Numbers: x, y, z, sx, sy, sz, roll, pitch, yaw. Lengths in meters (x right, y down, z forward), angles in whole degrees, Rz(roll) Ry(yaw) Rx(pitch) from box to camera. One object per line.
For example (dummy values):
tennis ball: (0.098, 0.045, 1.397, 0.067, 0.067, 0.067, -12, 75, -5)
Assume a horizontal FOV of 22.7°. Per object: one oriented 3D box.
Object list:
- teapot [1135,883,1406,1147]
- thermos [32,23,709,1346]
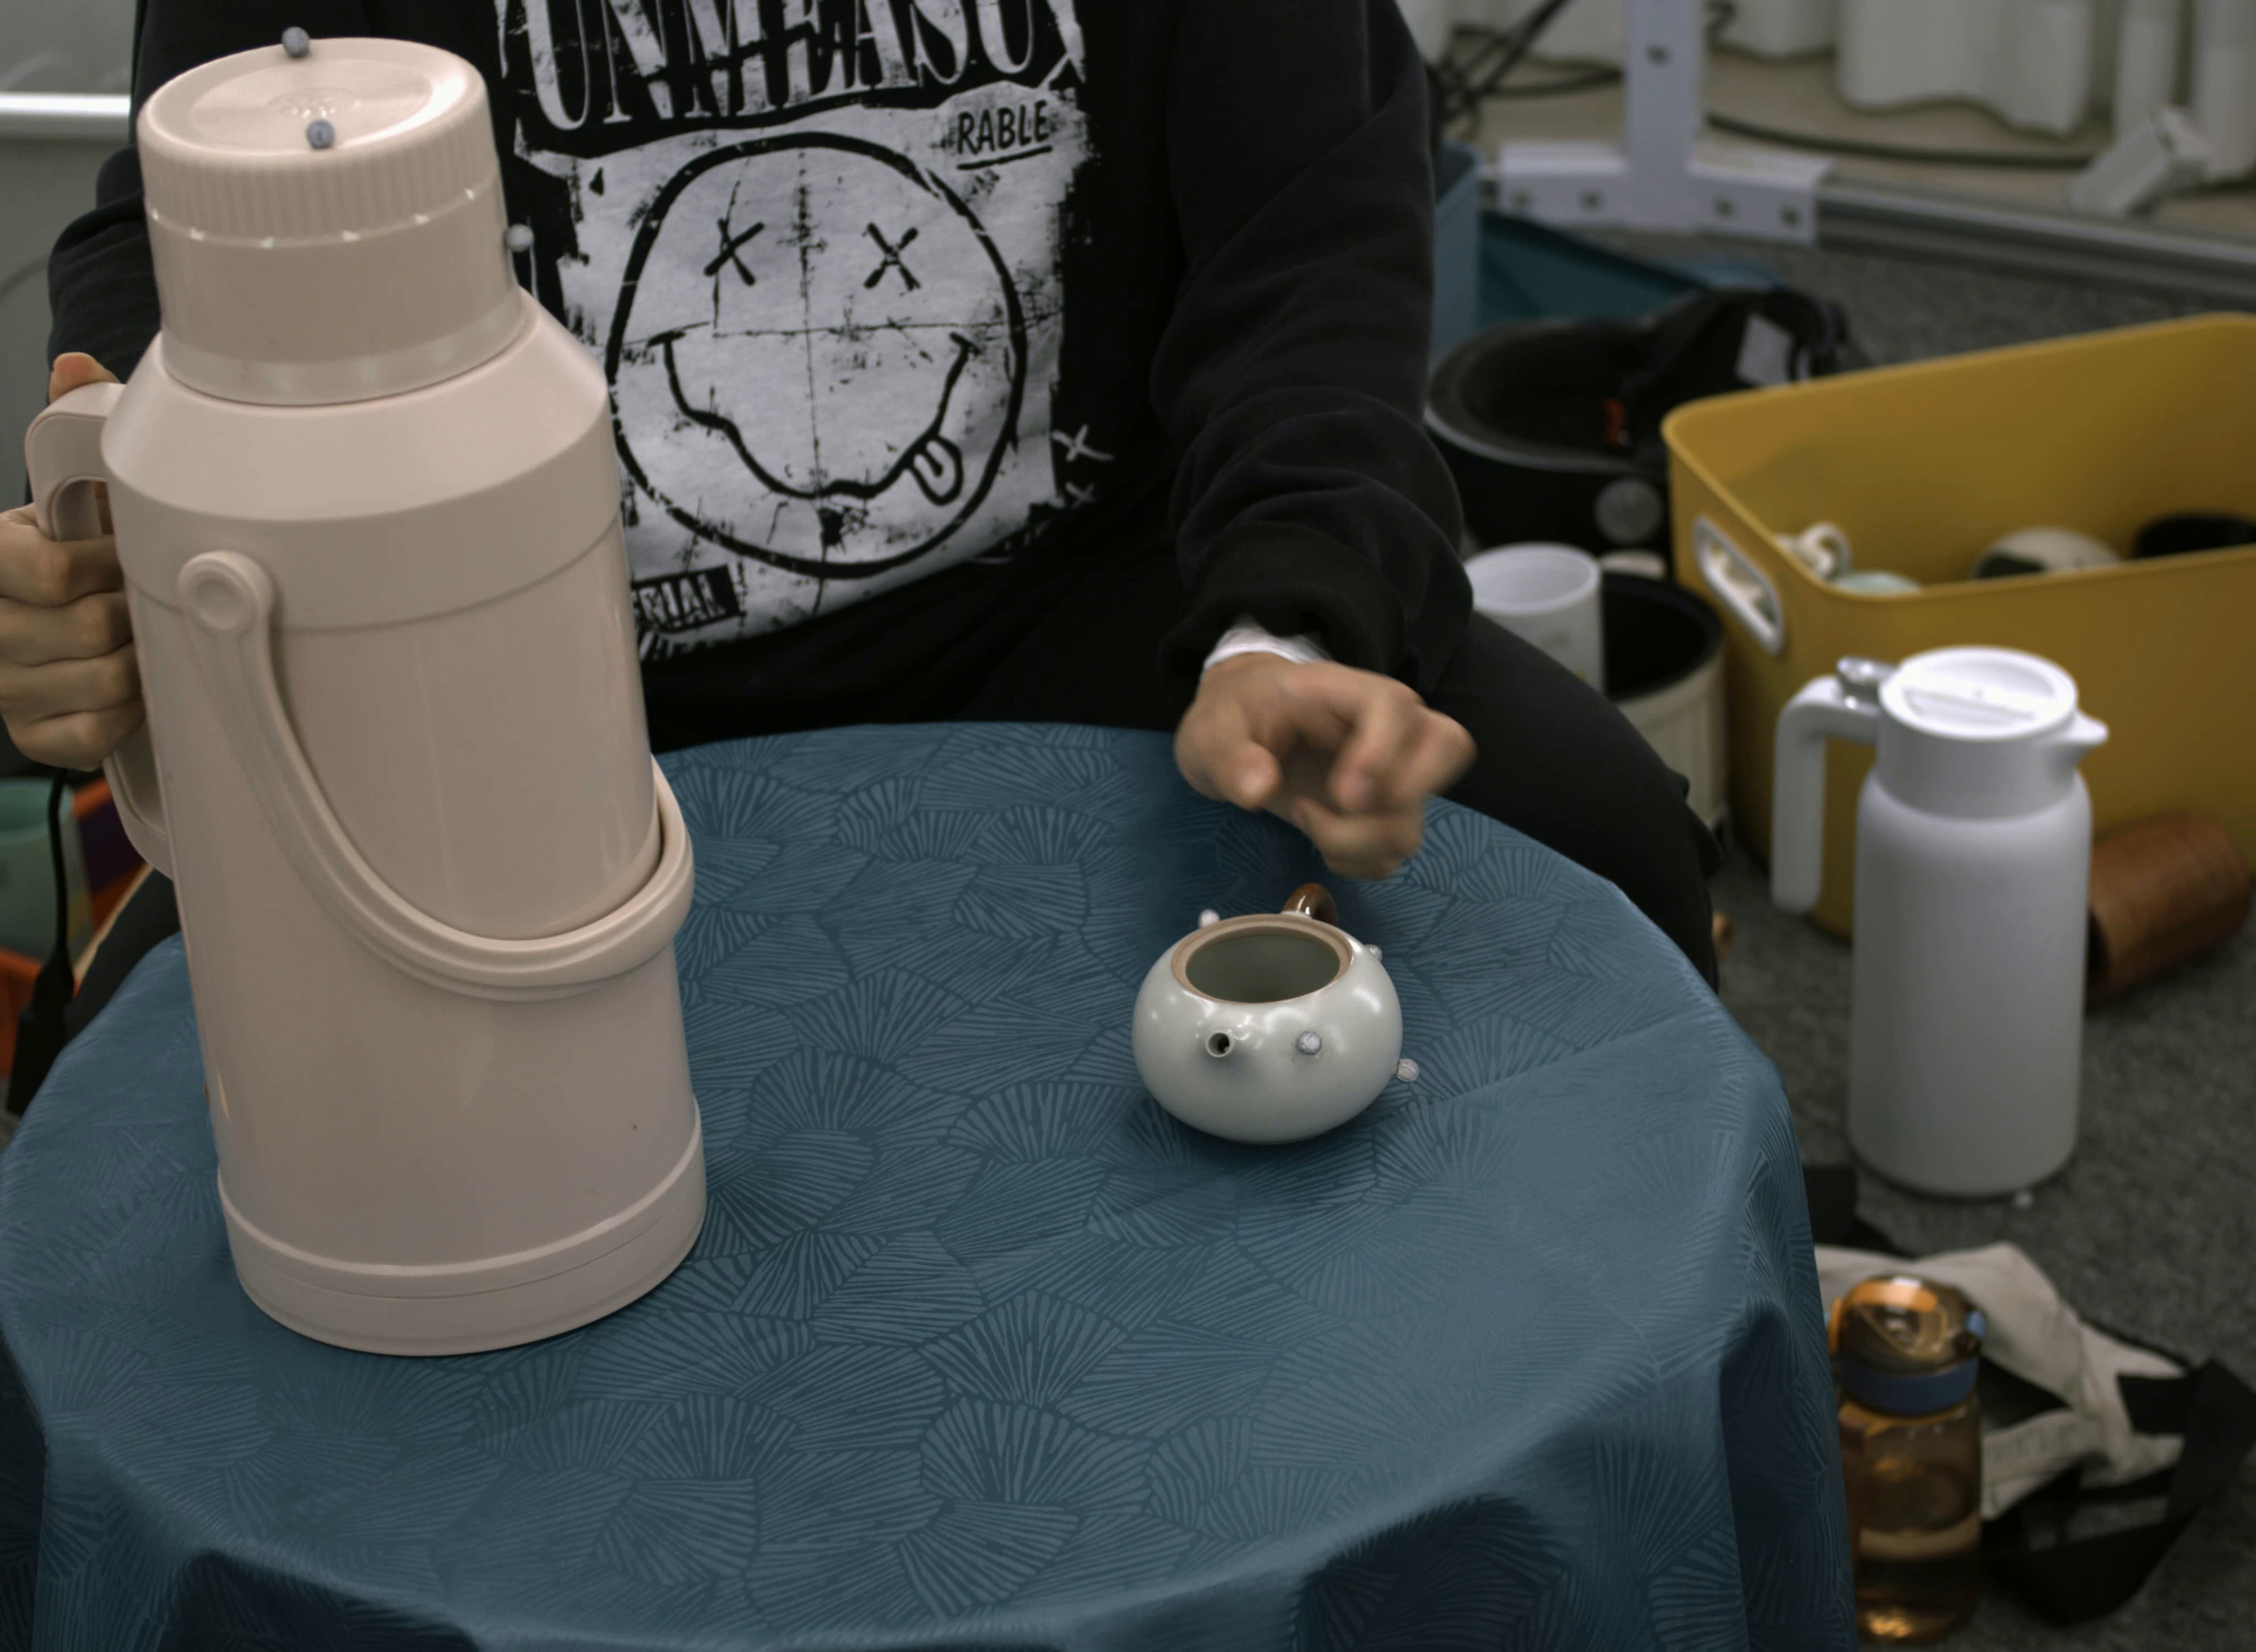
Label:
teapot: (0.050, 0.065, 1.900, 0.091, 0.059, 0.130, 1, 27, 16)
thermos: (-0.242, -0.046, 1.780, 0.205, 0.402, 0.178, 7, 30, 20)
